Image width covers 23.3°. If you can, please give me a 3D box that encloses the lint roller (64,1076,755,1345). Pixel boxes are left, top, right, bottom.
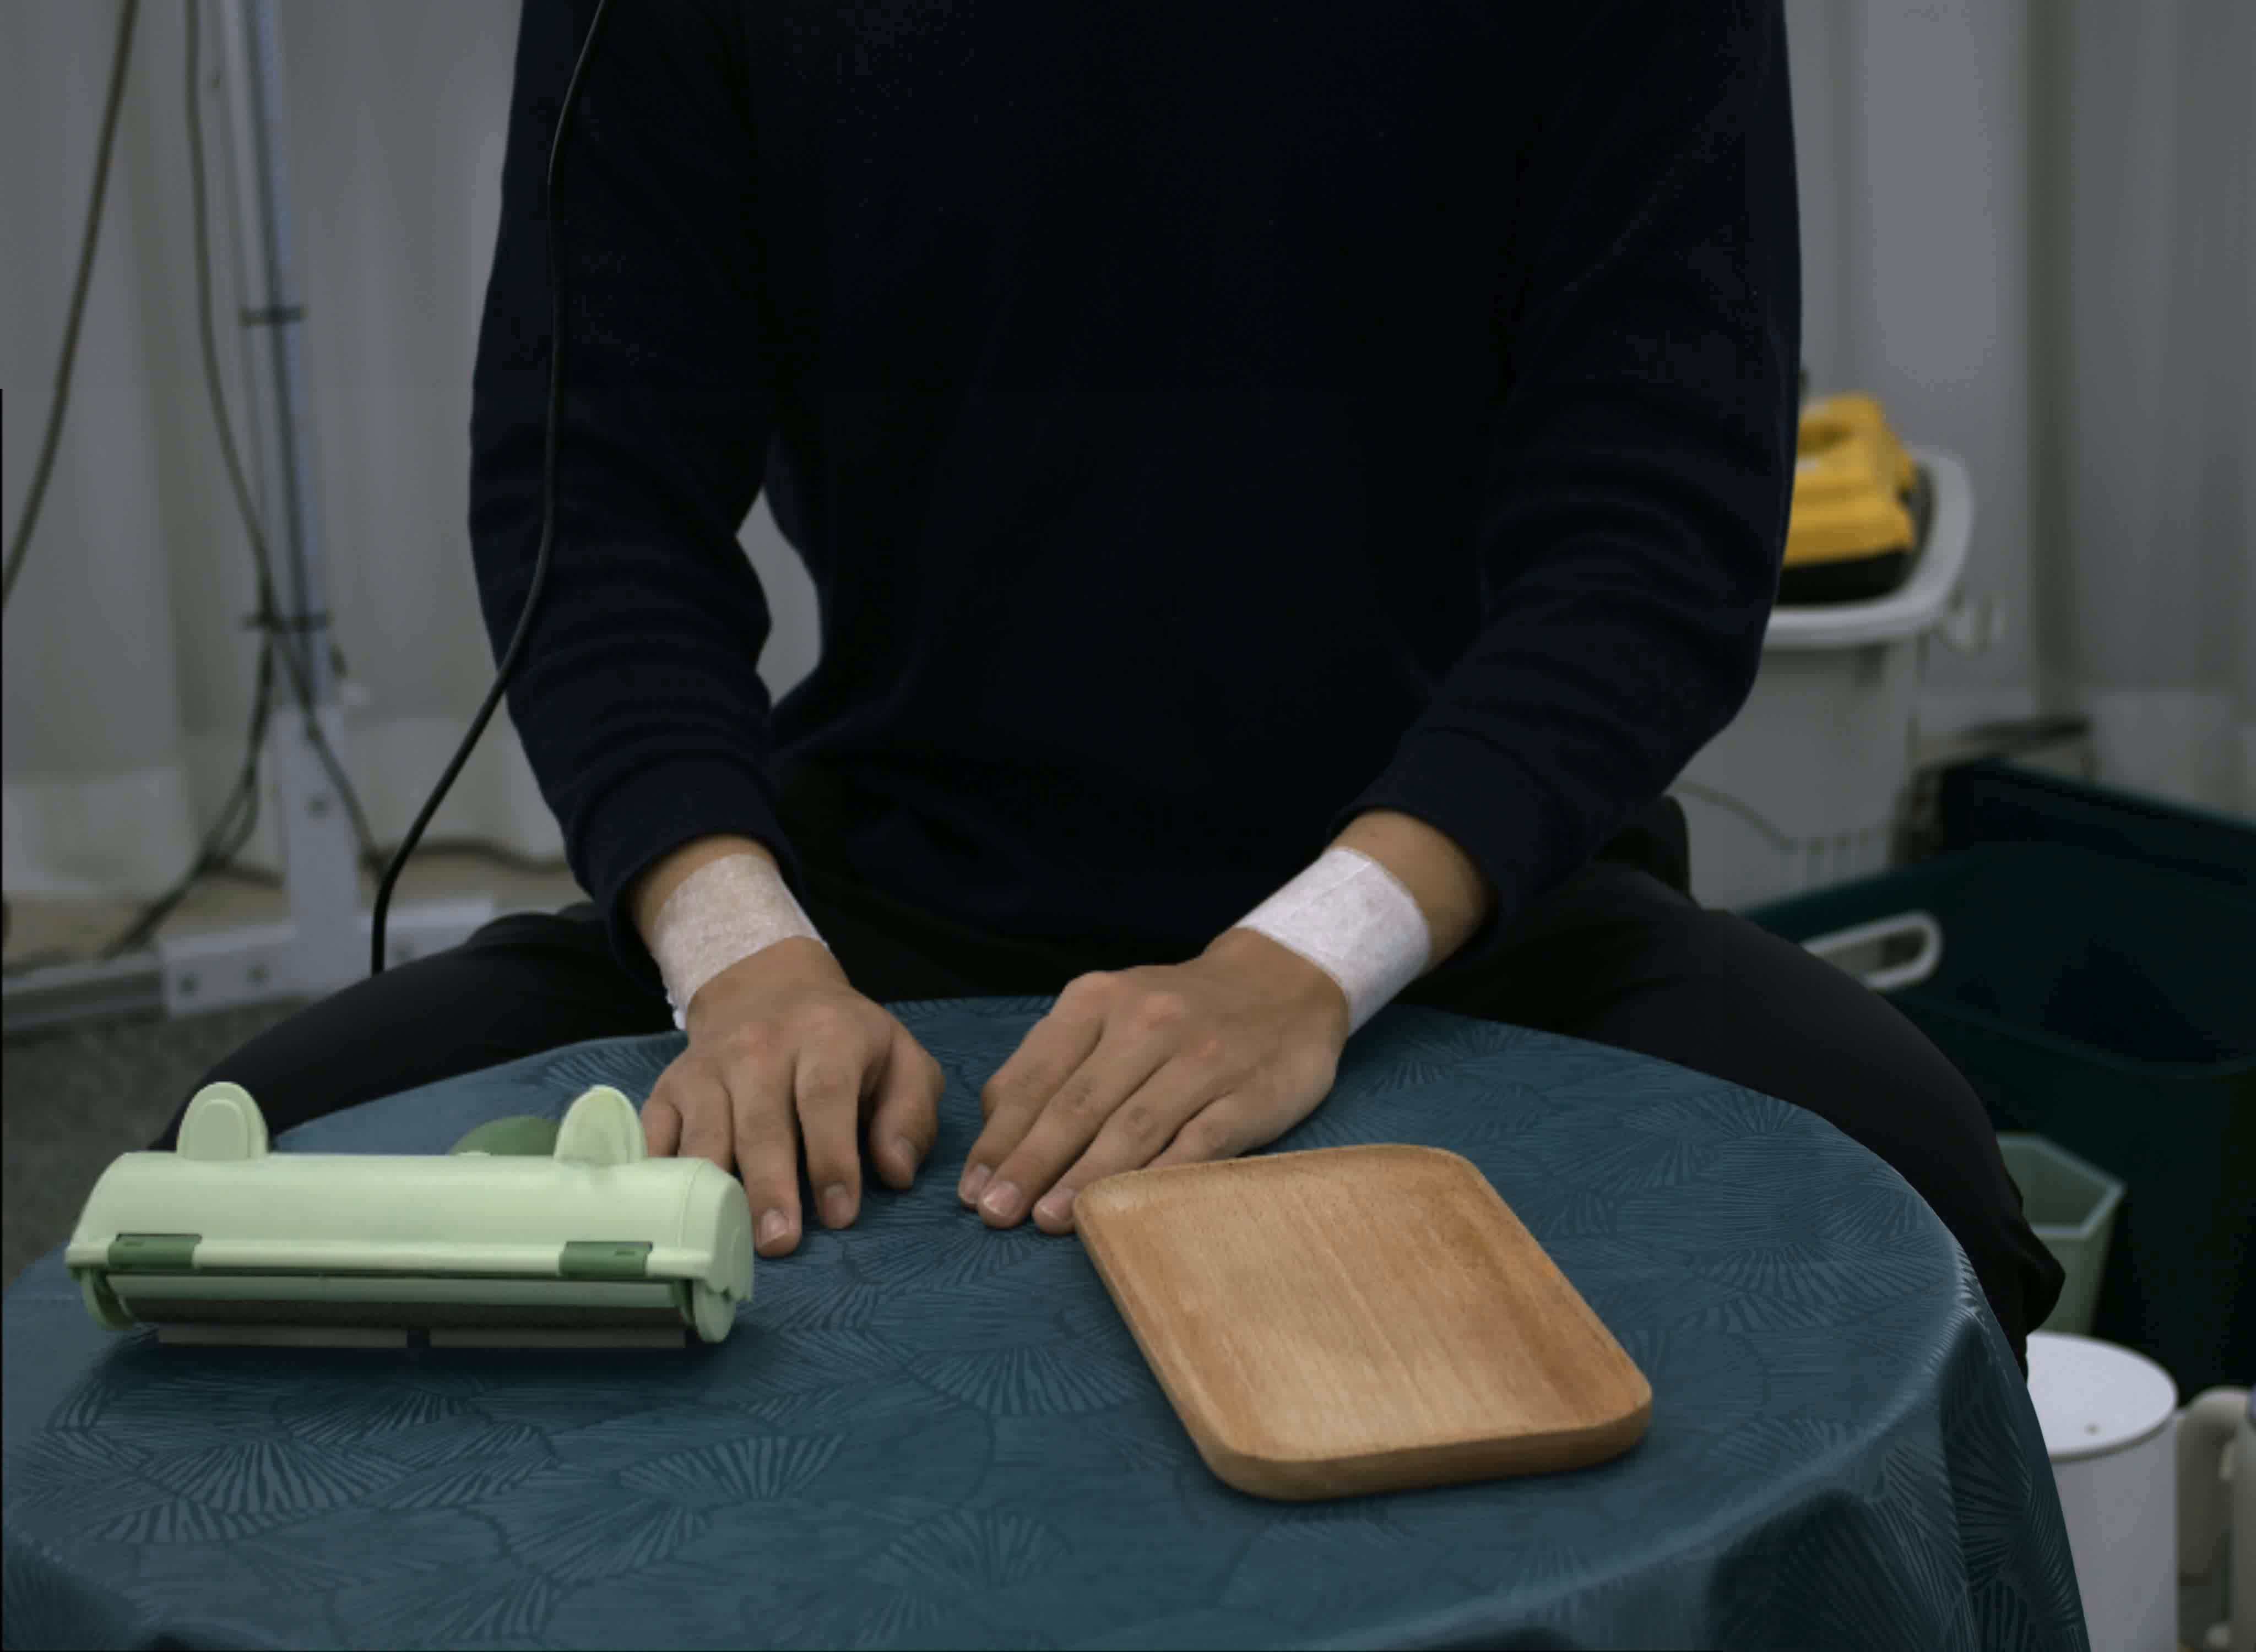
[{"bbox_3d":[-0.202,0.096,1.657,0.198,0.081,0.185,0,21,9],"label":"lint roller"}]

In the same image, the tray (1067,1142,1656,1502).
[{"bbox_3d":[0.063,0.140,1.577,0.130,0.023,0.252,-3,14,-10],"label":"tray"}]
